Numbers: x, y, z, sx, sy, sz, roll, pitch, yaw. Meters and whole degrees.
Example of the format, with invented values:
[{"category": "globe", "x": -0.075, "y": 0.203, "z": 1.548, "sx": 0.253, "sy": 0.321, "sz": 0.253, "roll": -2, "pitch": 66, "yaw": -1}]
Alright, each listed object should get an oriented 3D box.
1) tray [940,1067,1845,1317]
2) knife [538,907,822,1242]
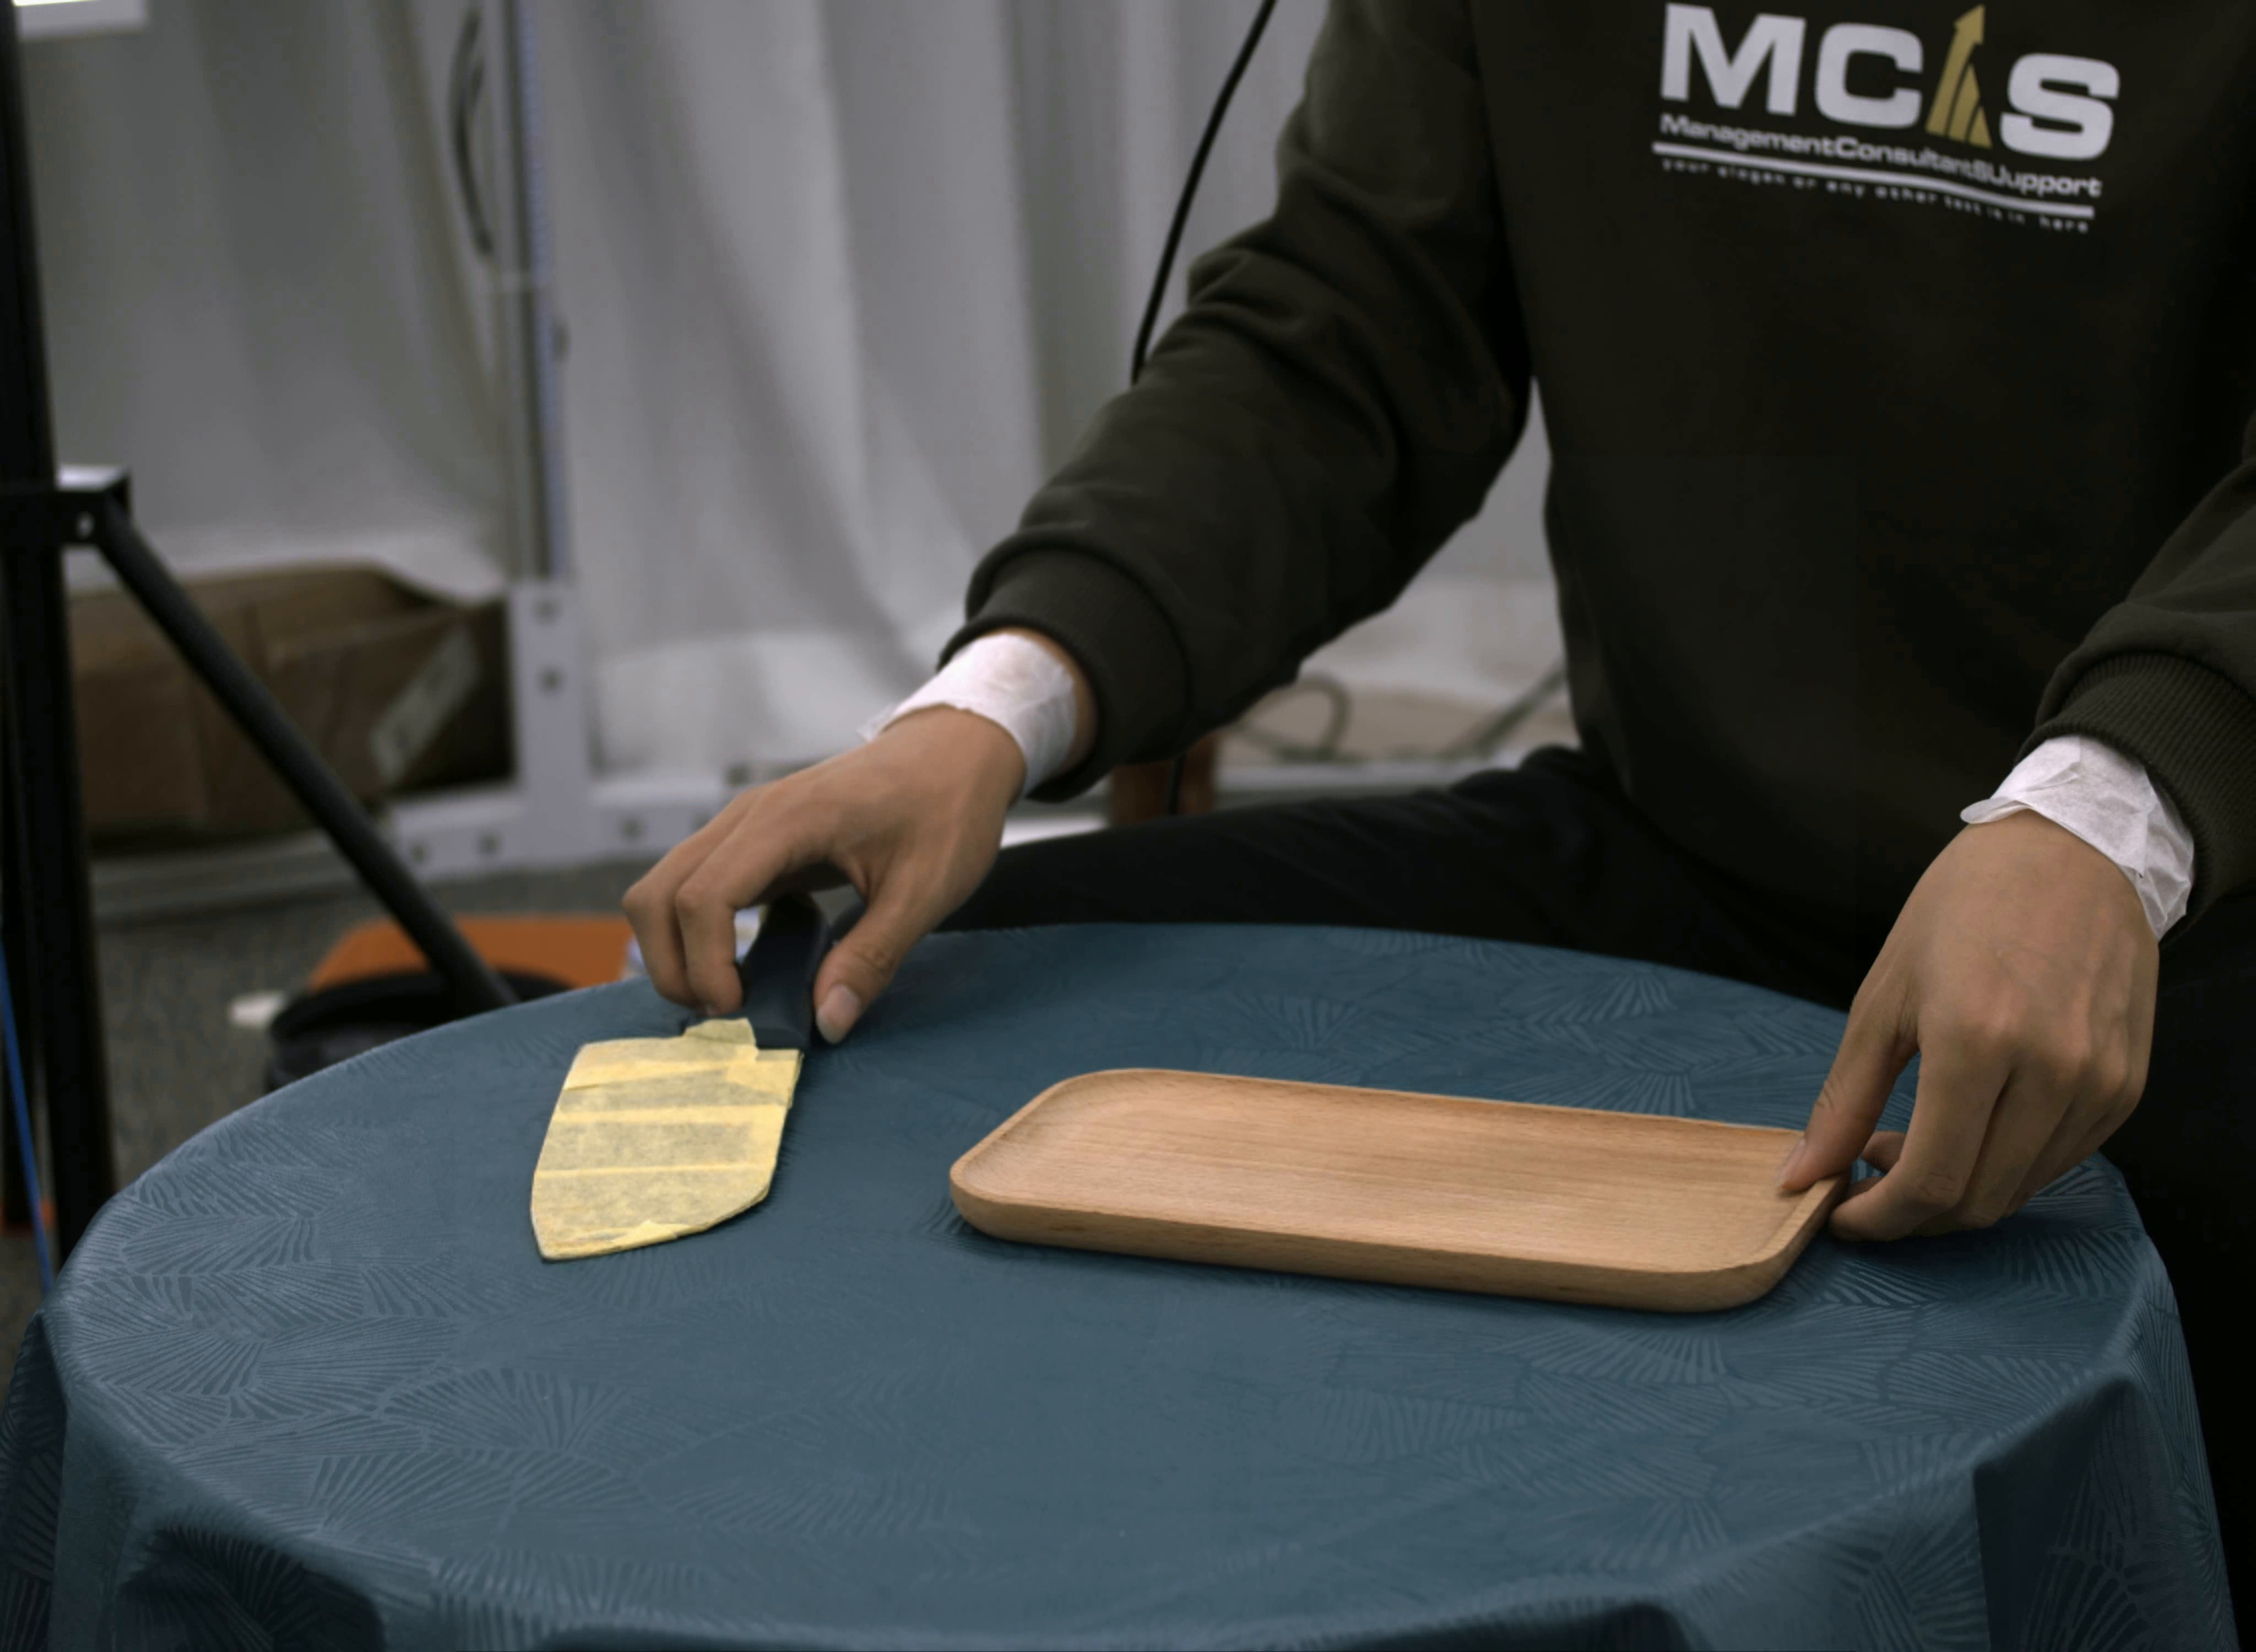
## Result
[{"category": "tray", "x": 0.076, "y": 0.105, "z": 1.532, "sx": 0.254, "sy": 0.023, "sz": 0.128, "roll": 4, "pitch": 14, "yaw": 24}, {"category": "knife", "x": -0.137, "y": 0.077, "z": 1.665, "sx": 0.081, "sy": 0.027, "sz": 0.289, "roll": 1, "pitch": 17, "yaw": 5}]
